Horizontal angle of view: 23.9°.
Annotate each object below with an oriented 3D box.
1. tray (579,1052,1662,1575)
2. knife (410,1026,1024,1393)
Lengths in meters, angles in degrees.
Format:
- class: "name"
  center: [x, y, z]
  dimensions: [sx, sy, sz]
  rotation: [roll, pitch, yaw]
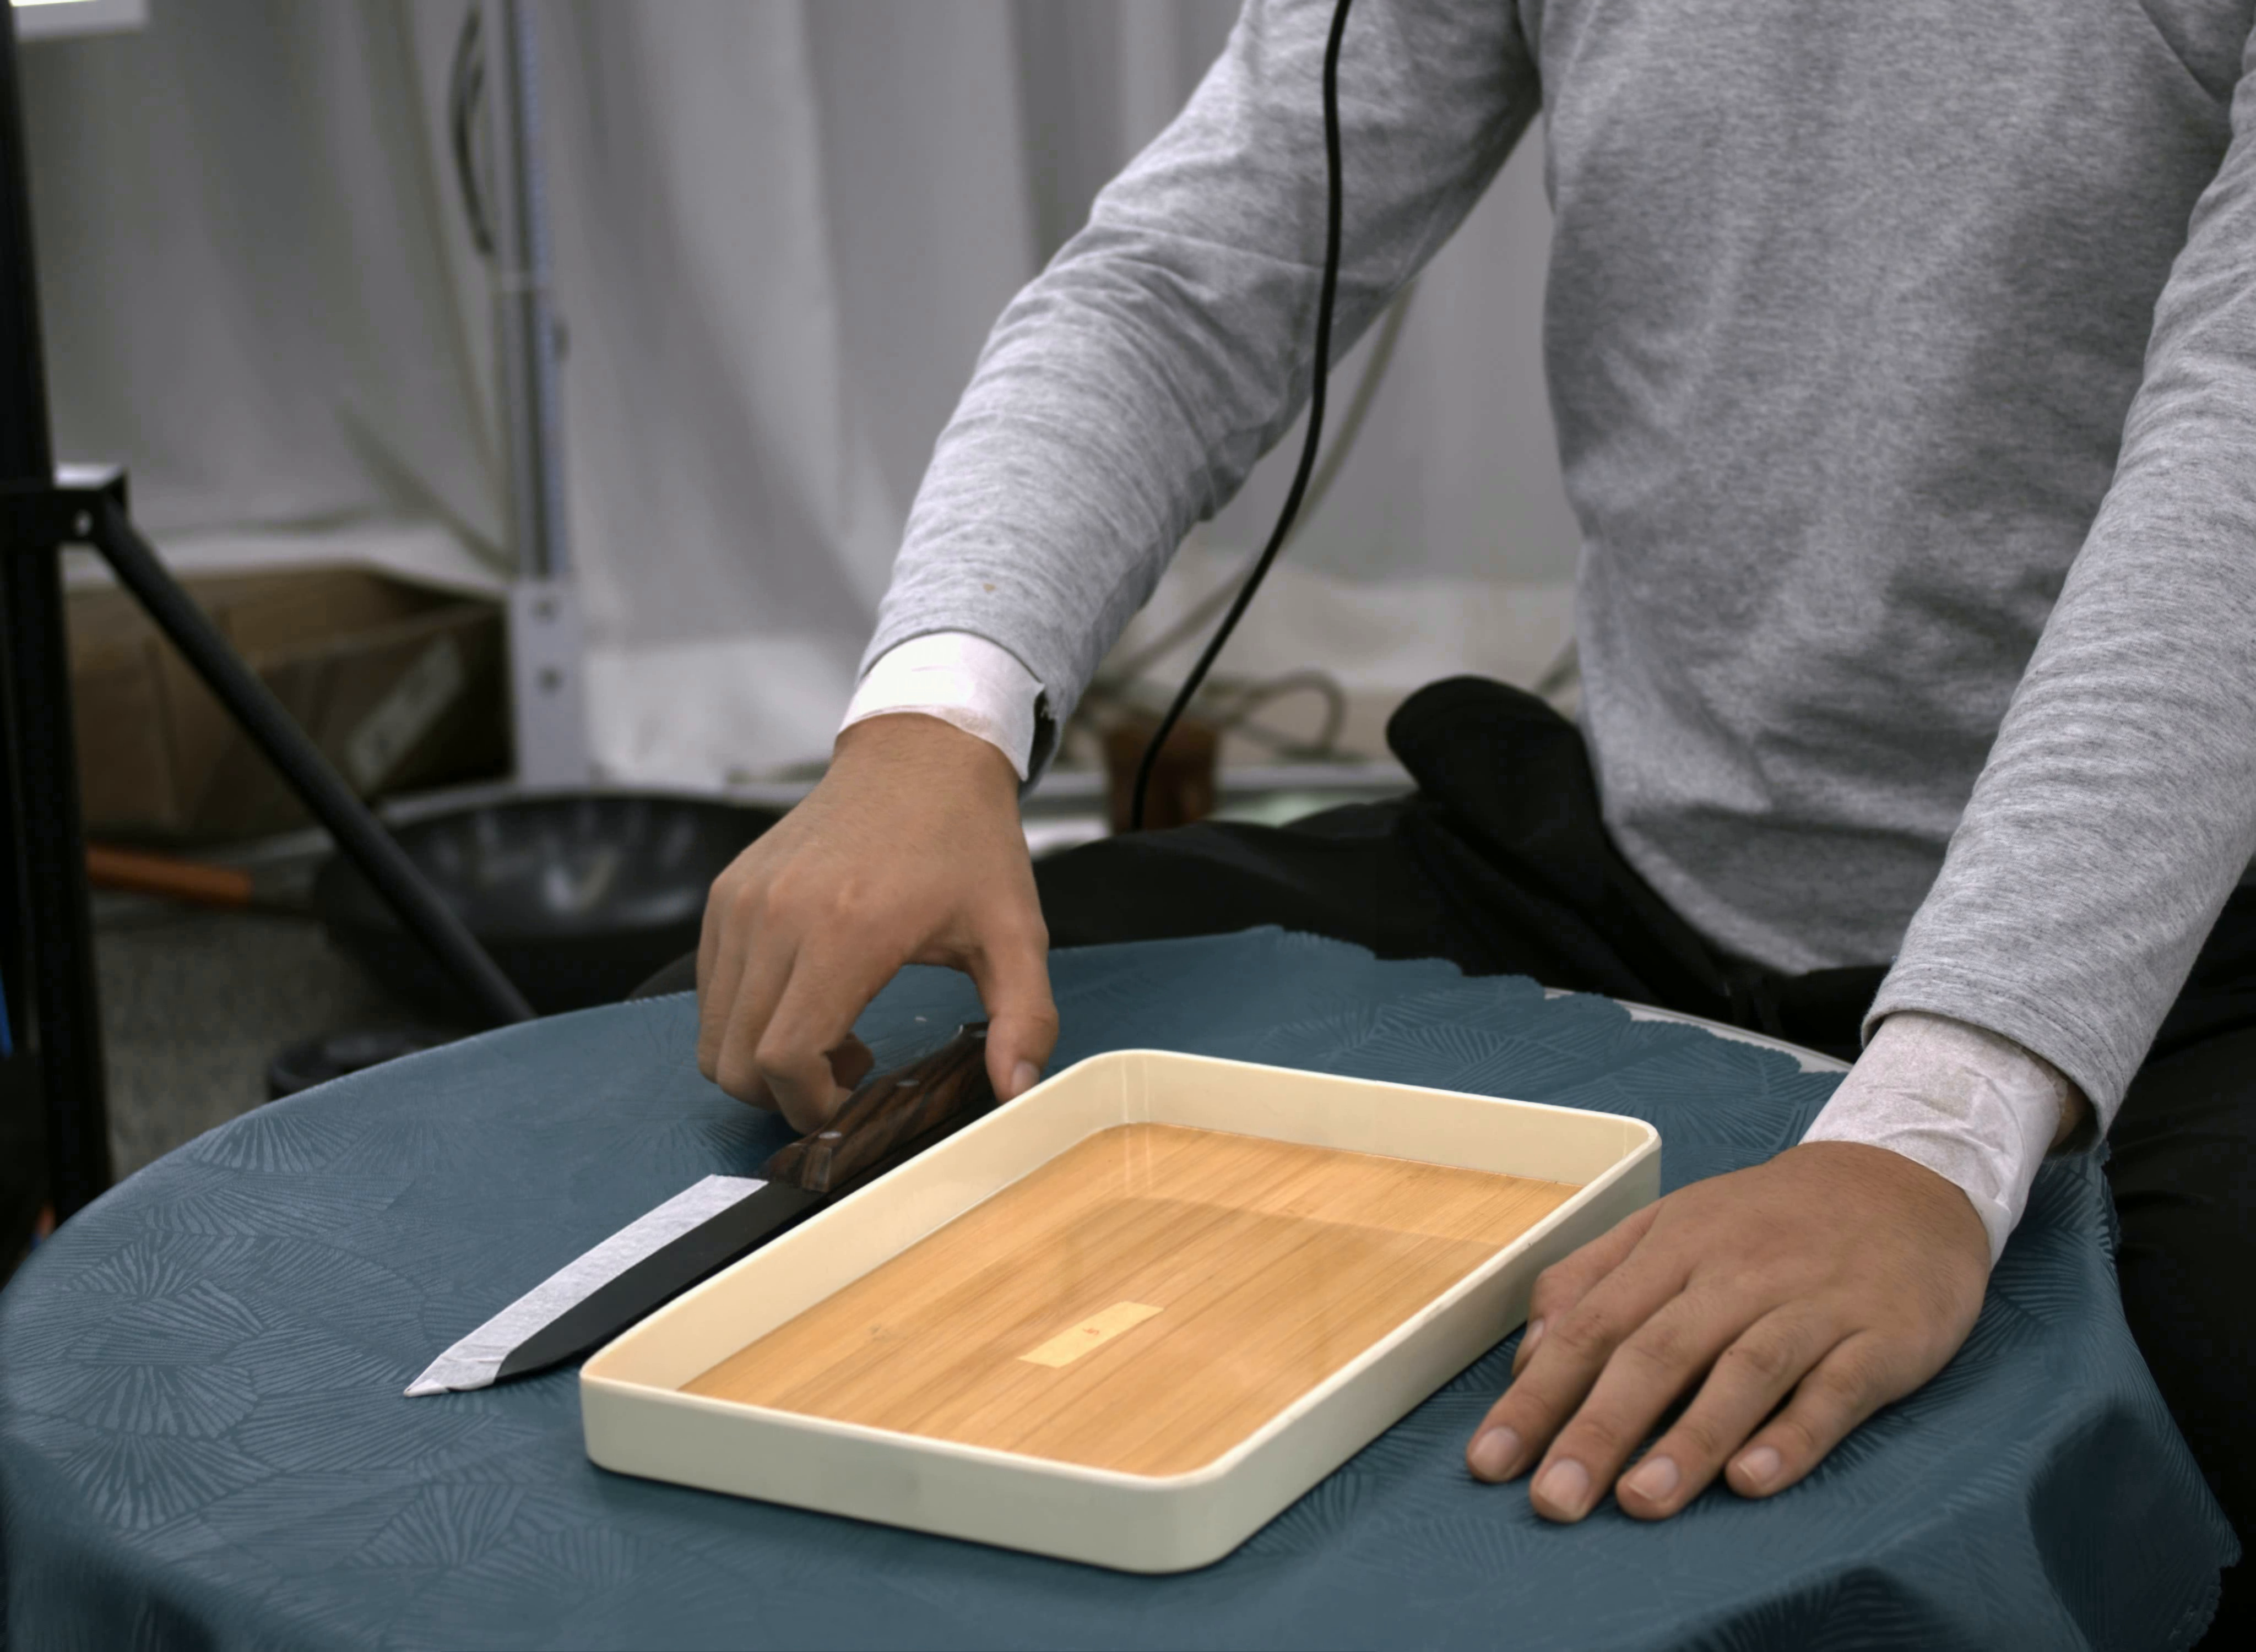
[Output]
- class: "tray"
  center: [0.006, 0.126, 1.448]
  dimensions: [0.195, 0.027, 0.295]
  rotation: [7, 18, 29]
- class: "knife"
  center: [-0.113, 0.111, 1.541]
  dimensions: [0.051, 0.020, 0.284]
  rotation: [2, 18, 34]
